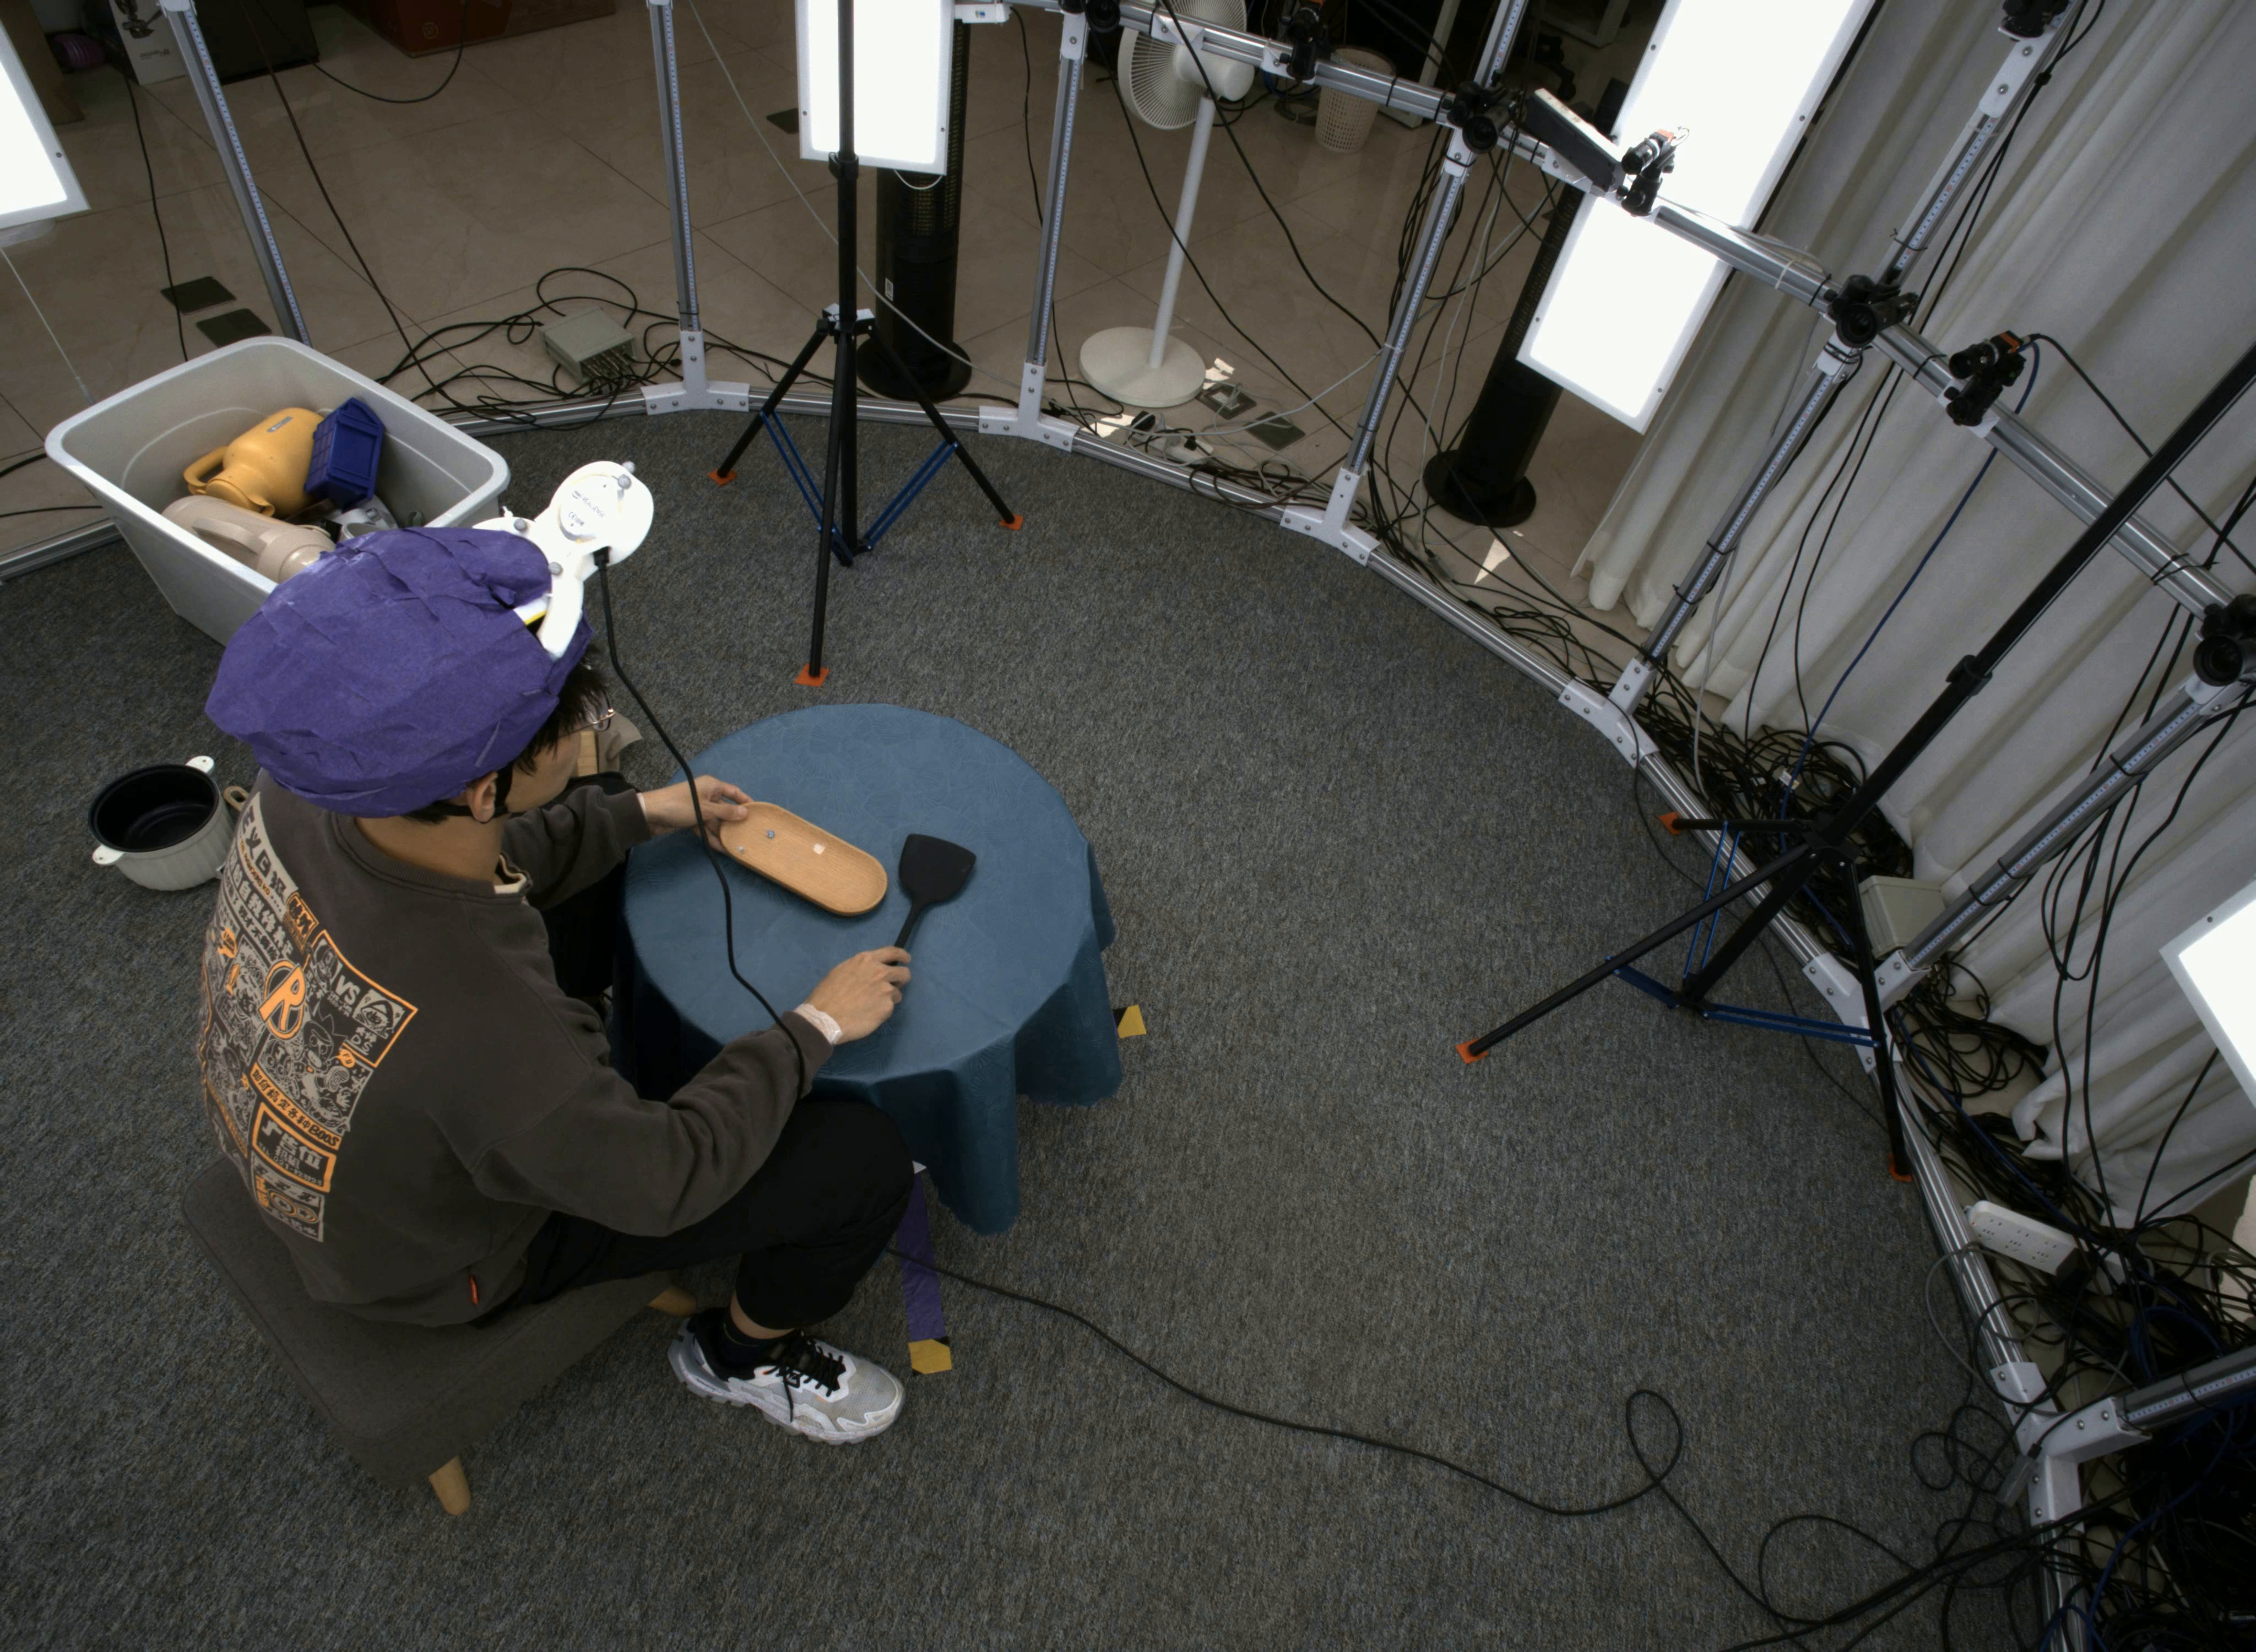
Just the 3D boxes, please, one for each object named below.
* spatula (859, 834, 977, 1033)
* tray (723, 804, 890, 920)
[{"bbox_3d":[-0.278,0.130,1.633,0.099,0.041,0.321,18,39,-1],"label":"spatula"},{"bbox_3d":[-0.417,0.045,1.684,0.230,0.020,0.101,29,53,-1],"label":"tray"}]
